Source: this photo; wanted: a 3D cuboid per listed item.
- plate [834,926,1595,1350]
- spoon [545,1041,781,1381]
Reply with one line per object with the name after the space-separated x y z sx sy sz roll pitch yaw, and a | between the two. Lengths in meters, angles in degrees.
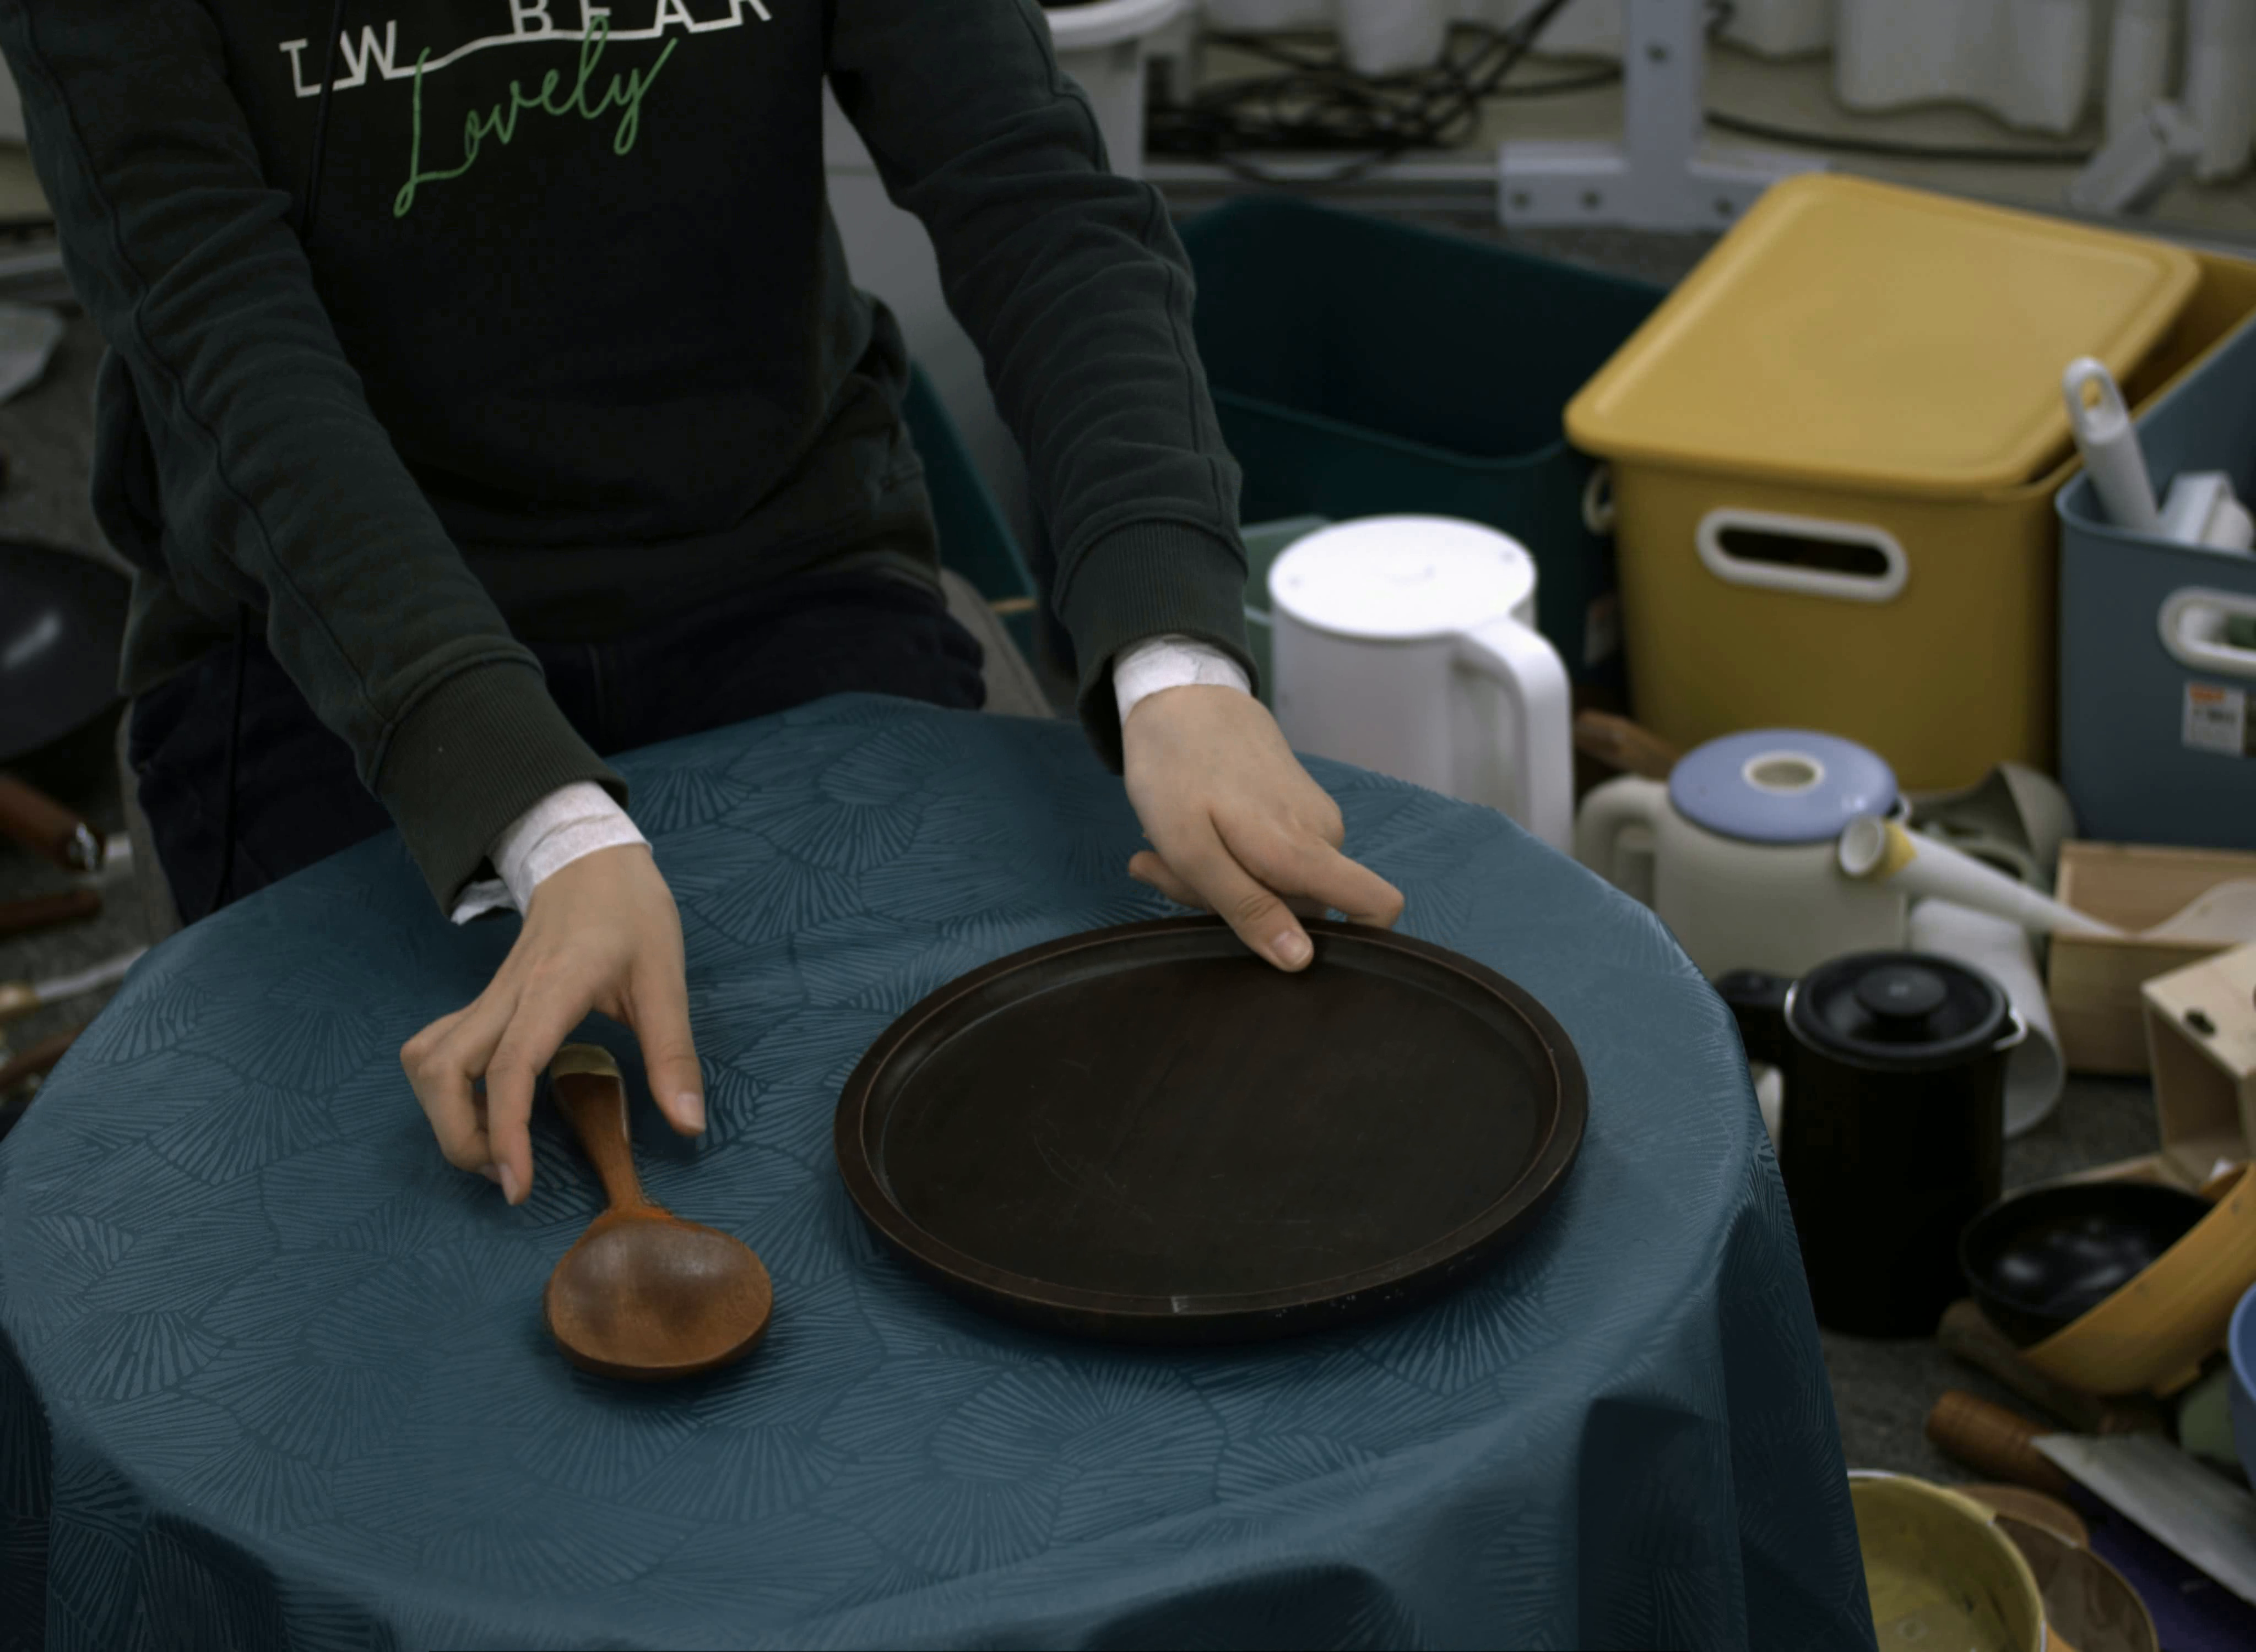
0.029 0.101 1.869 0.253 0.029 0.259 -2 29 1 | plate
-0.164 0.127 1.848 0.075 0.017 0.218 -9 28 -11 | spoon
